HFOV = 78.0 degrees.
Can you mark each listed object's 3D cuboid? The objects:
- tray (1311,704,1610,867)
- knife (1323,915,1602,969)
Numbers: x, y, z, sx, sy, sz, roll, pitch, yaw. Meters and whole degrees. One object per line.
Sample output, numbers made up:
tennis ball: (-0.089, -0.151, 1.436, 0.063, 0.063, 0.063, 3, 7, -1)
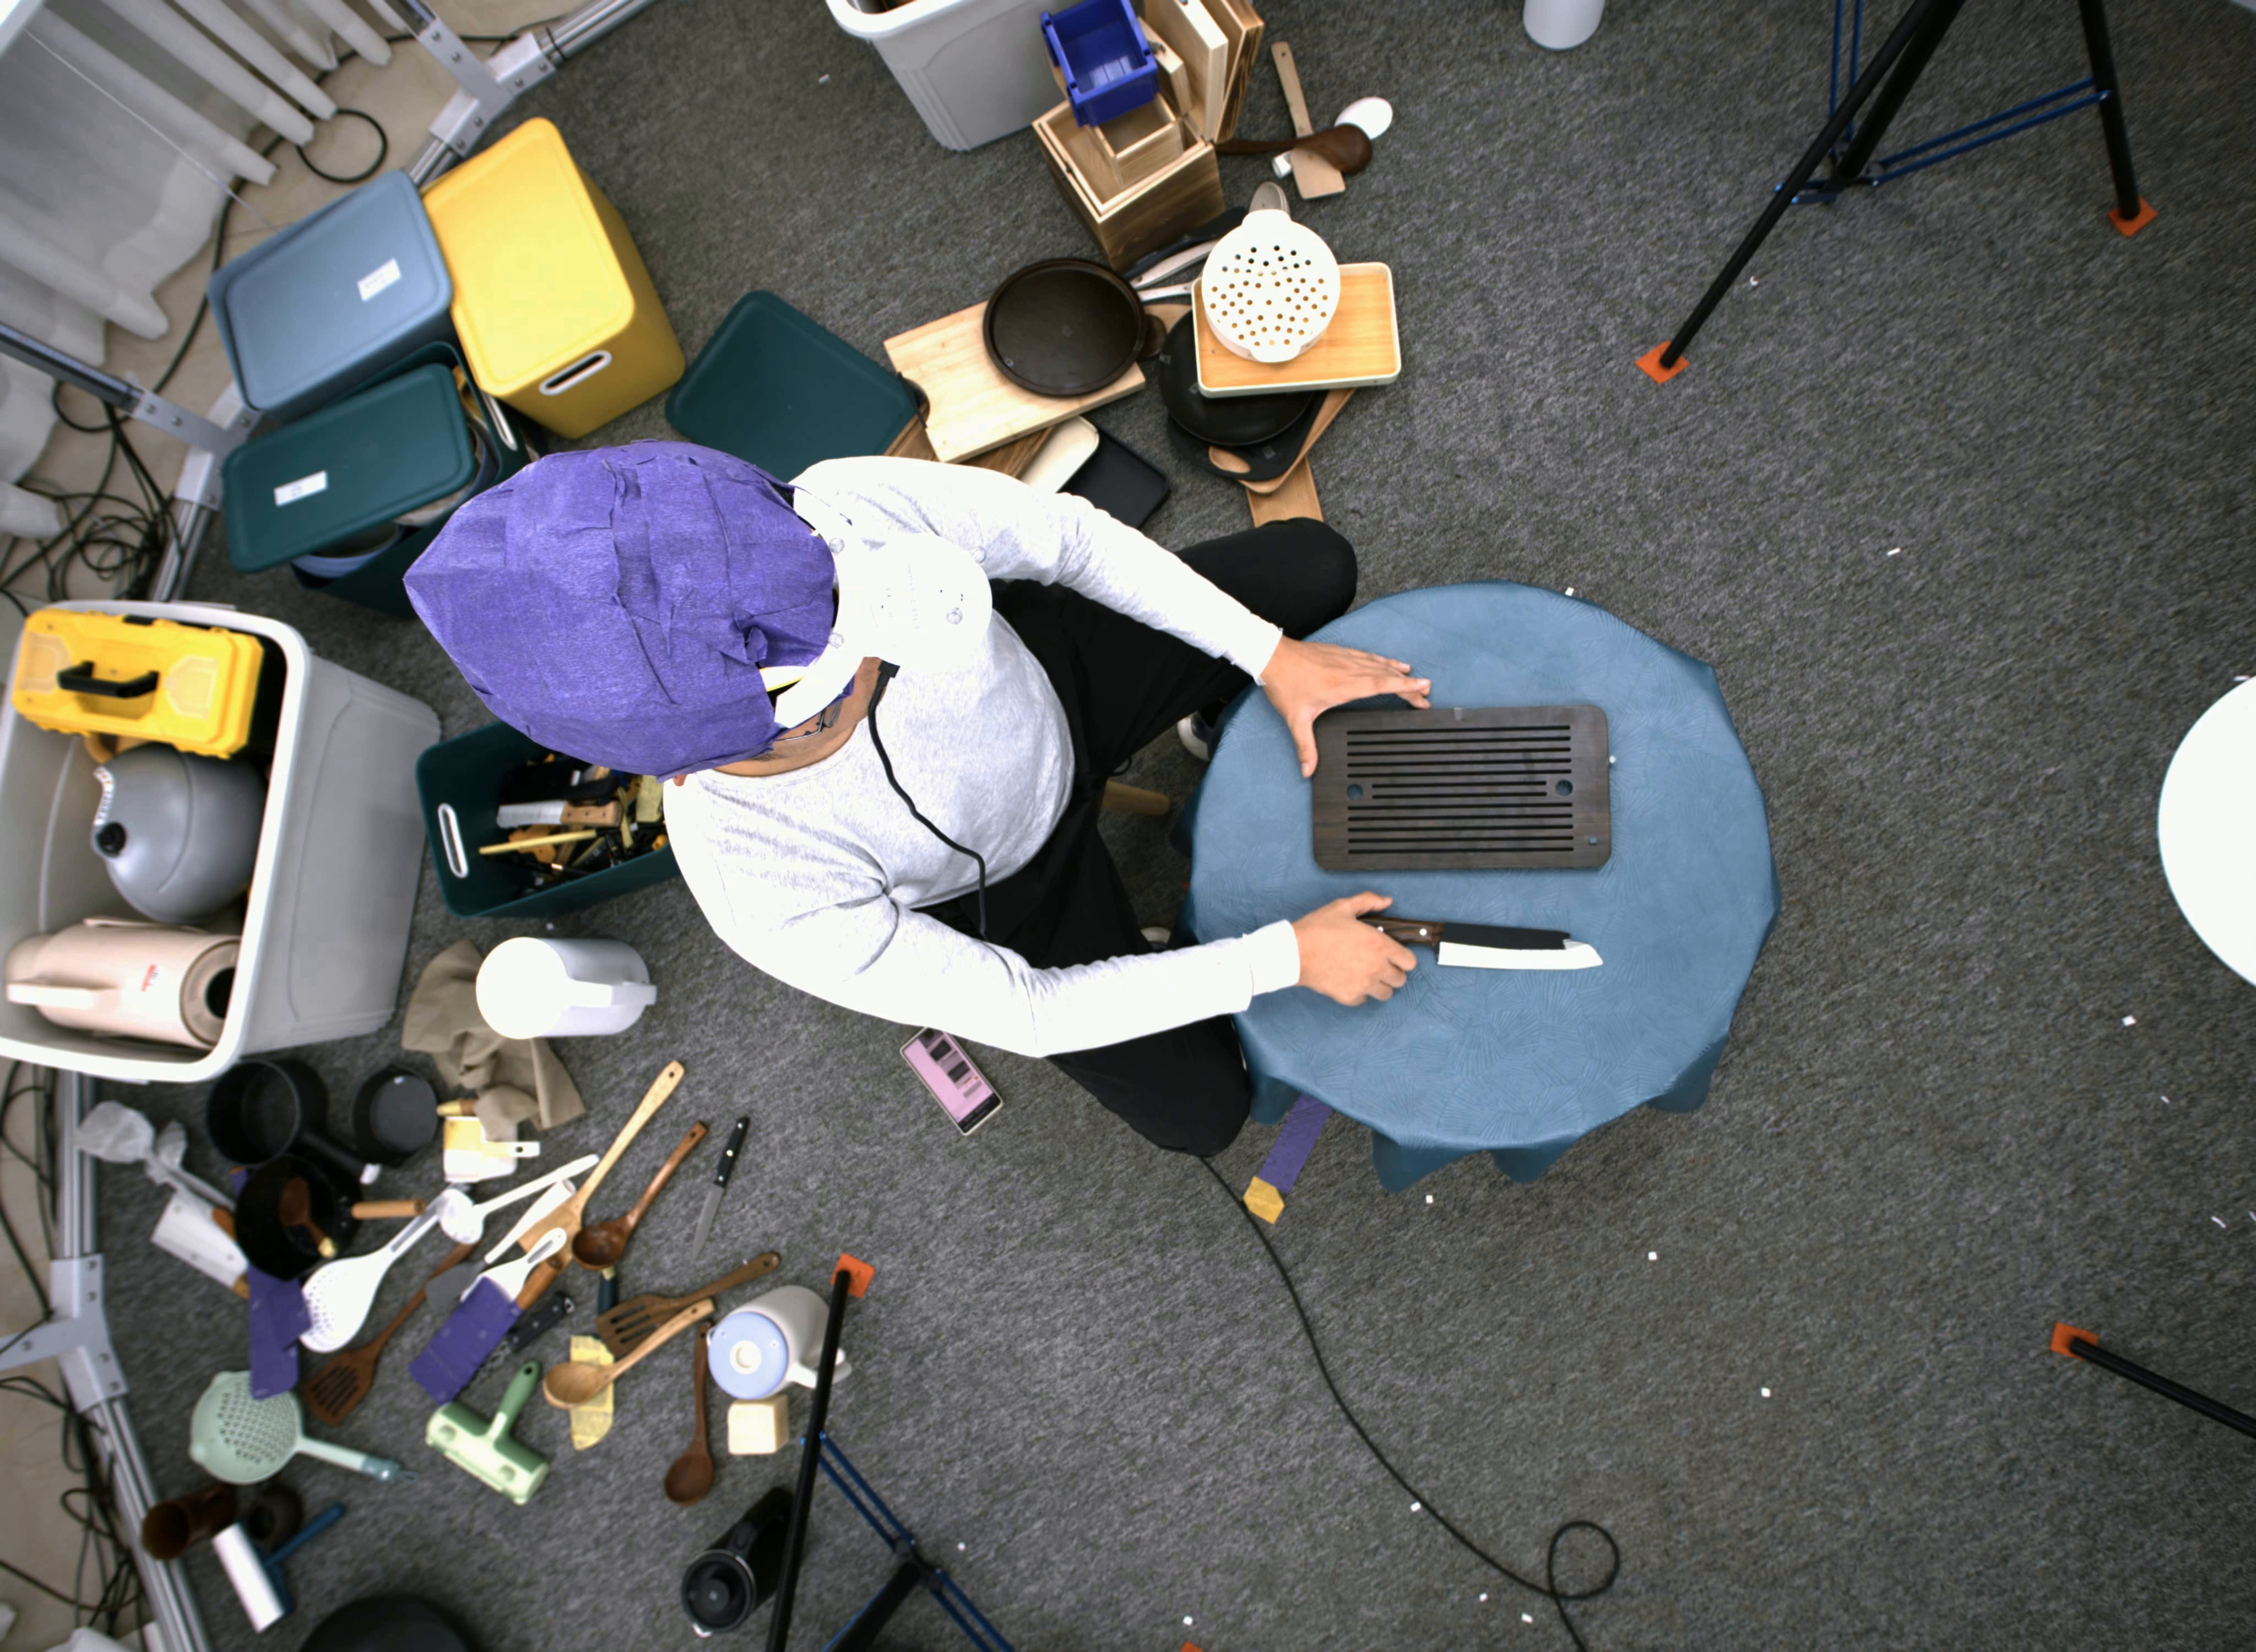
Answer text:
tray: (0.346, -0.043, 1.443, 0.307, 0.018, 0.169, -1, 87, 11)
knife: (0.347, 0.119, 1.436, 0.290, 0.020, 0.050, 6, 93, 9)
